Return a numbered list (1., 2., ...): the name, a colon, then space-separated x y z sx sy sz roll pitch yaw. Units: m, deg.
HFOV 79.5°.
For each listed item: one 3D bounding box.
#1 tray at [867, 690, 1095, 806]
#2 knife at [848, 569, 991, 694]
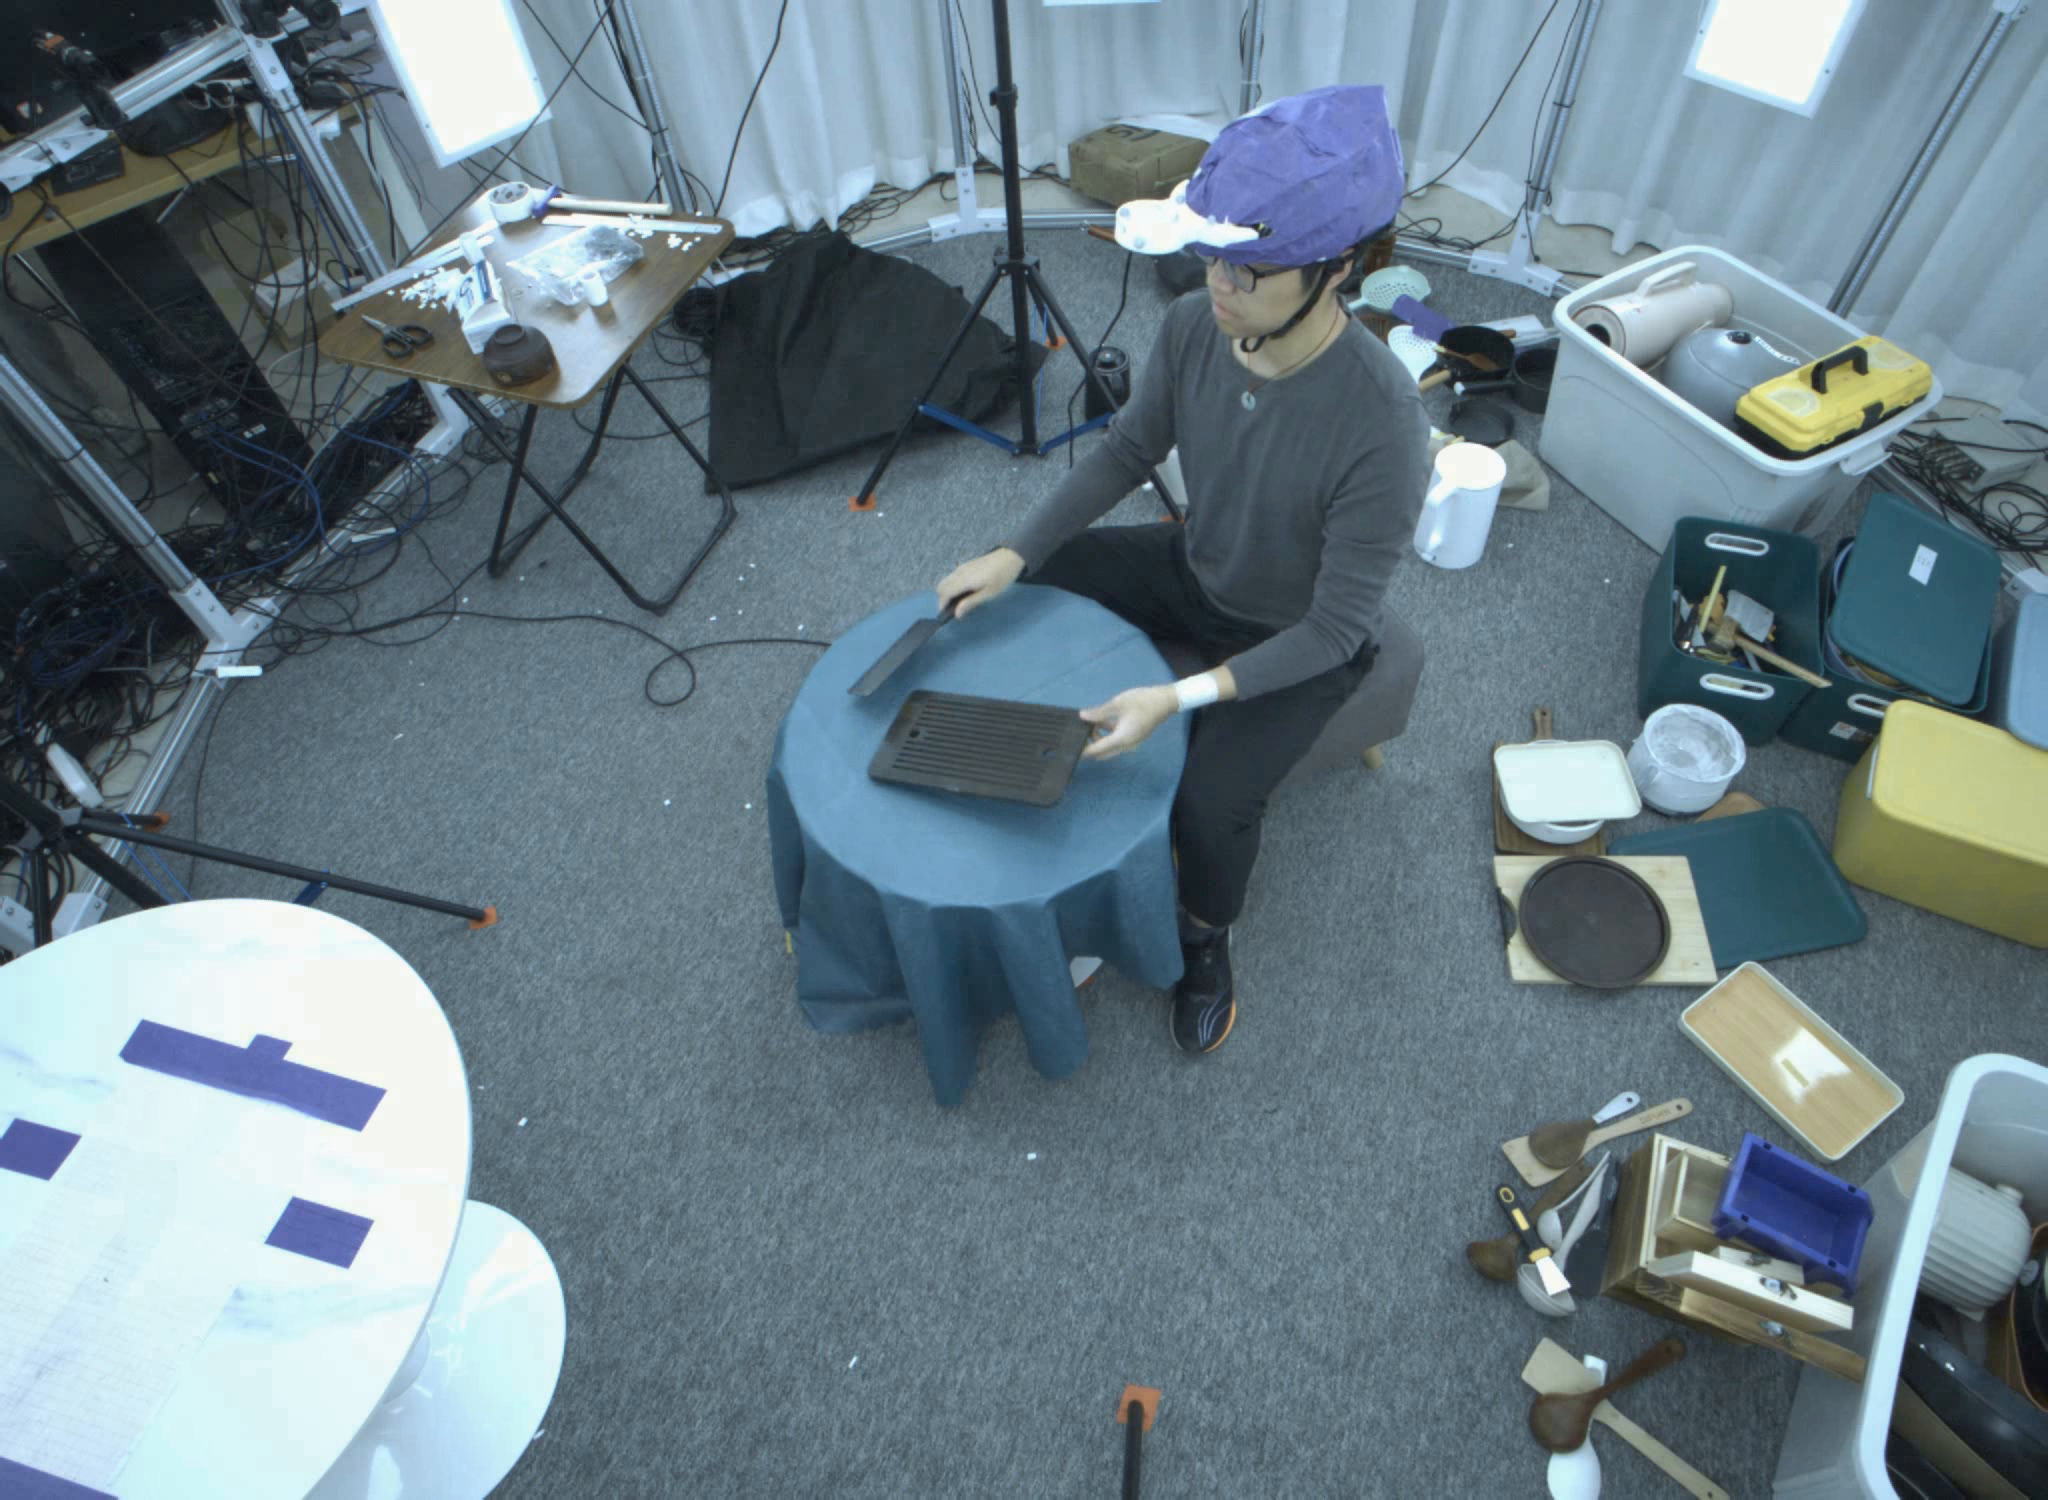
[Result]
1. tray: -0.062 -0.005 1.750 0.301 0.019 0.170 8 53 23
2. knife: -0.155 -0.182 1.877 0.079 0.021 0.304 14 52 48
